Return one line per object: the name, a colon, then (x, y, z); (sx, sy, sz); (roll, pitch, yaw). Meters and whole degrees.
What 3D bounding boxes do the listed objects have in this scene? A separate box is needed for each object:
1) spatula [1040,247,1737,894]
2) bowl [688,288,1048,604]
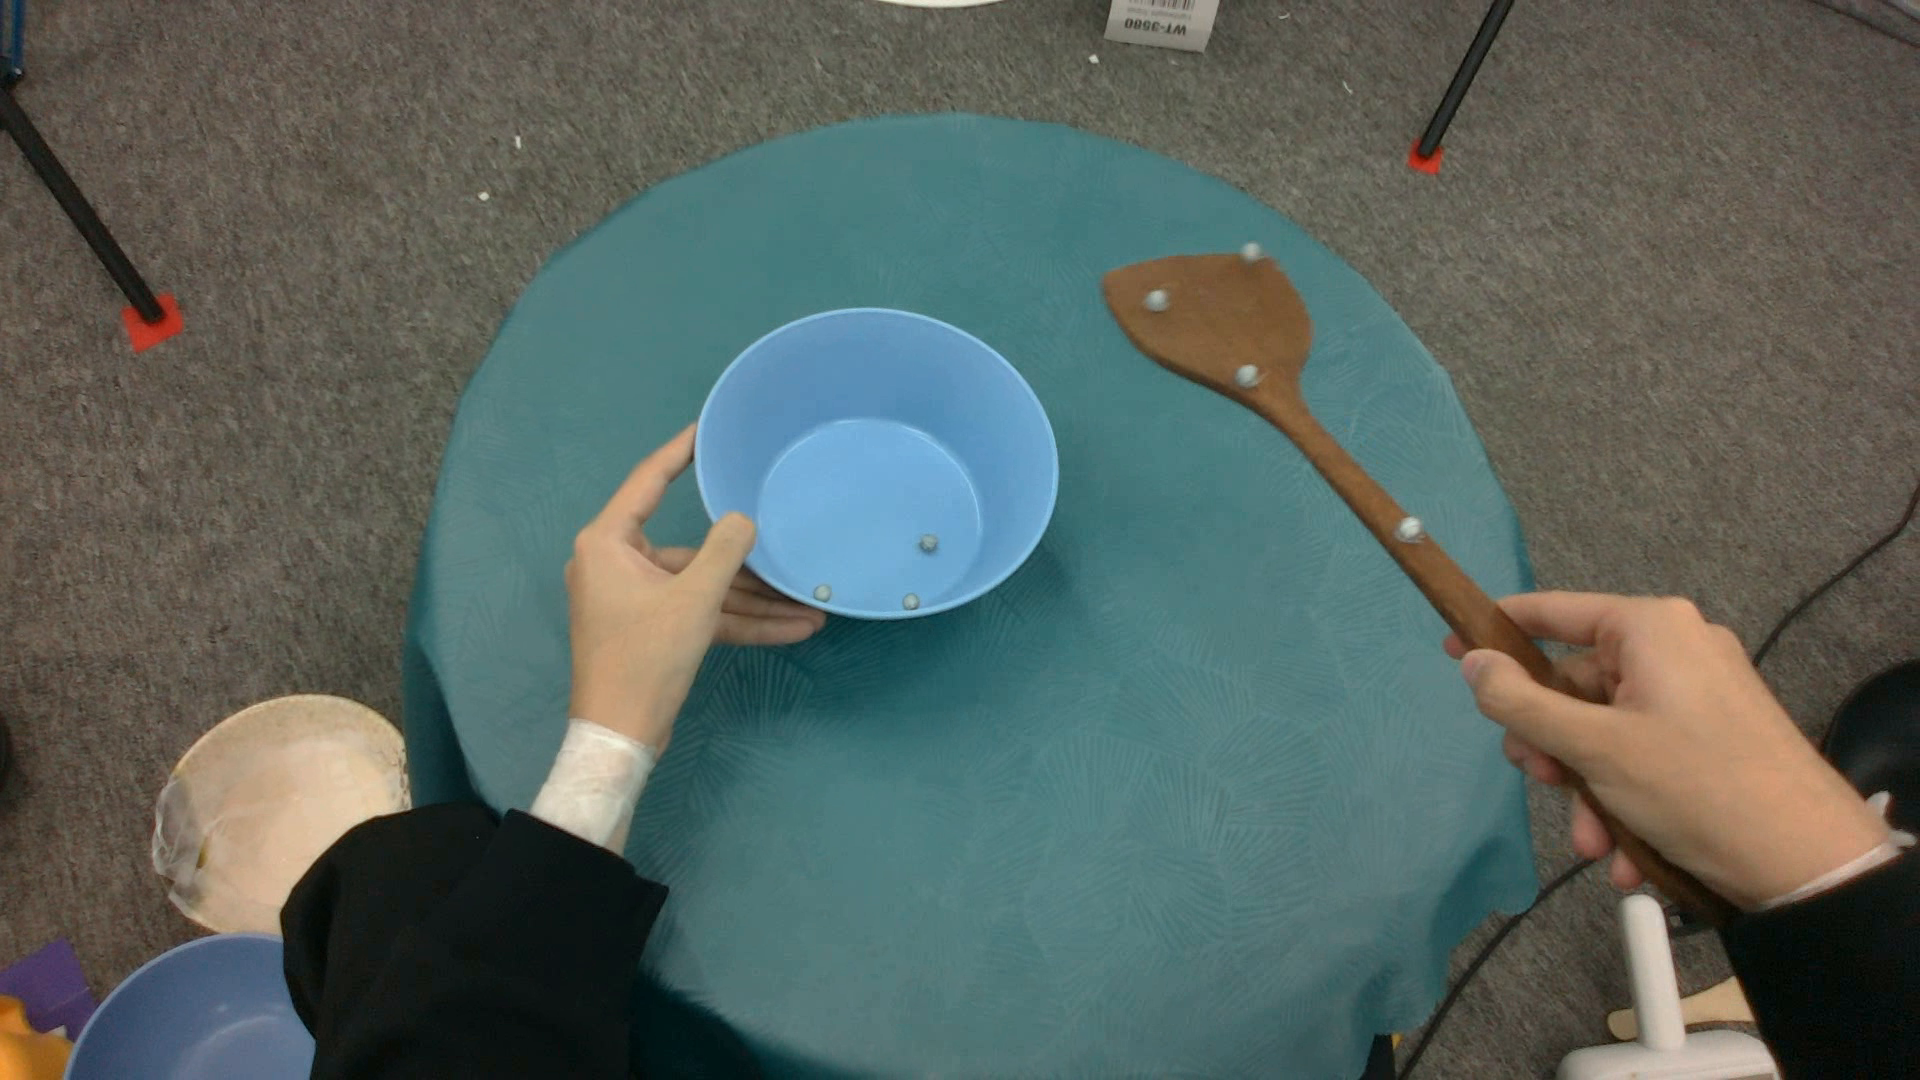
spatula: (0.148, -0.019, 0.533); (0.096, 0.016, 0.387); (-11, 42, -21)
bowl: (-0.047, -0.037, 0.693); (0.176, 0.070, 0.177); (4, 63, -7)
